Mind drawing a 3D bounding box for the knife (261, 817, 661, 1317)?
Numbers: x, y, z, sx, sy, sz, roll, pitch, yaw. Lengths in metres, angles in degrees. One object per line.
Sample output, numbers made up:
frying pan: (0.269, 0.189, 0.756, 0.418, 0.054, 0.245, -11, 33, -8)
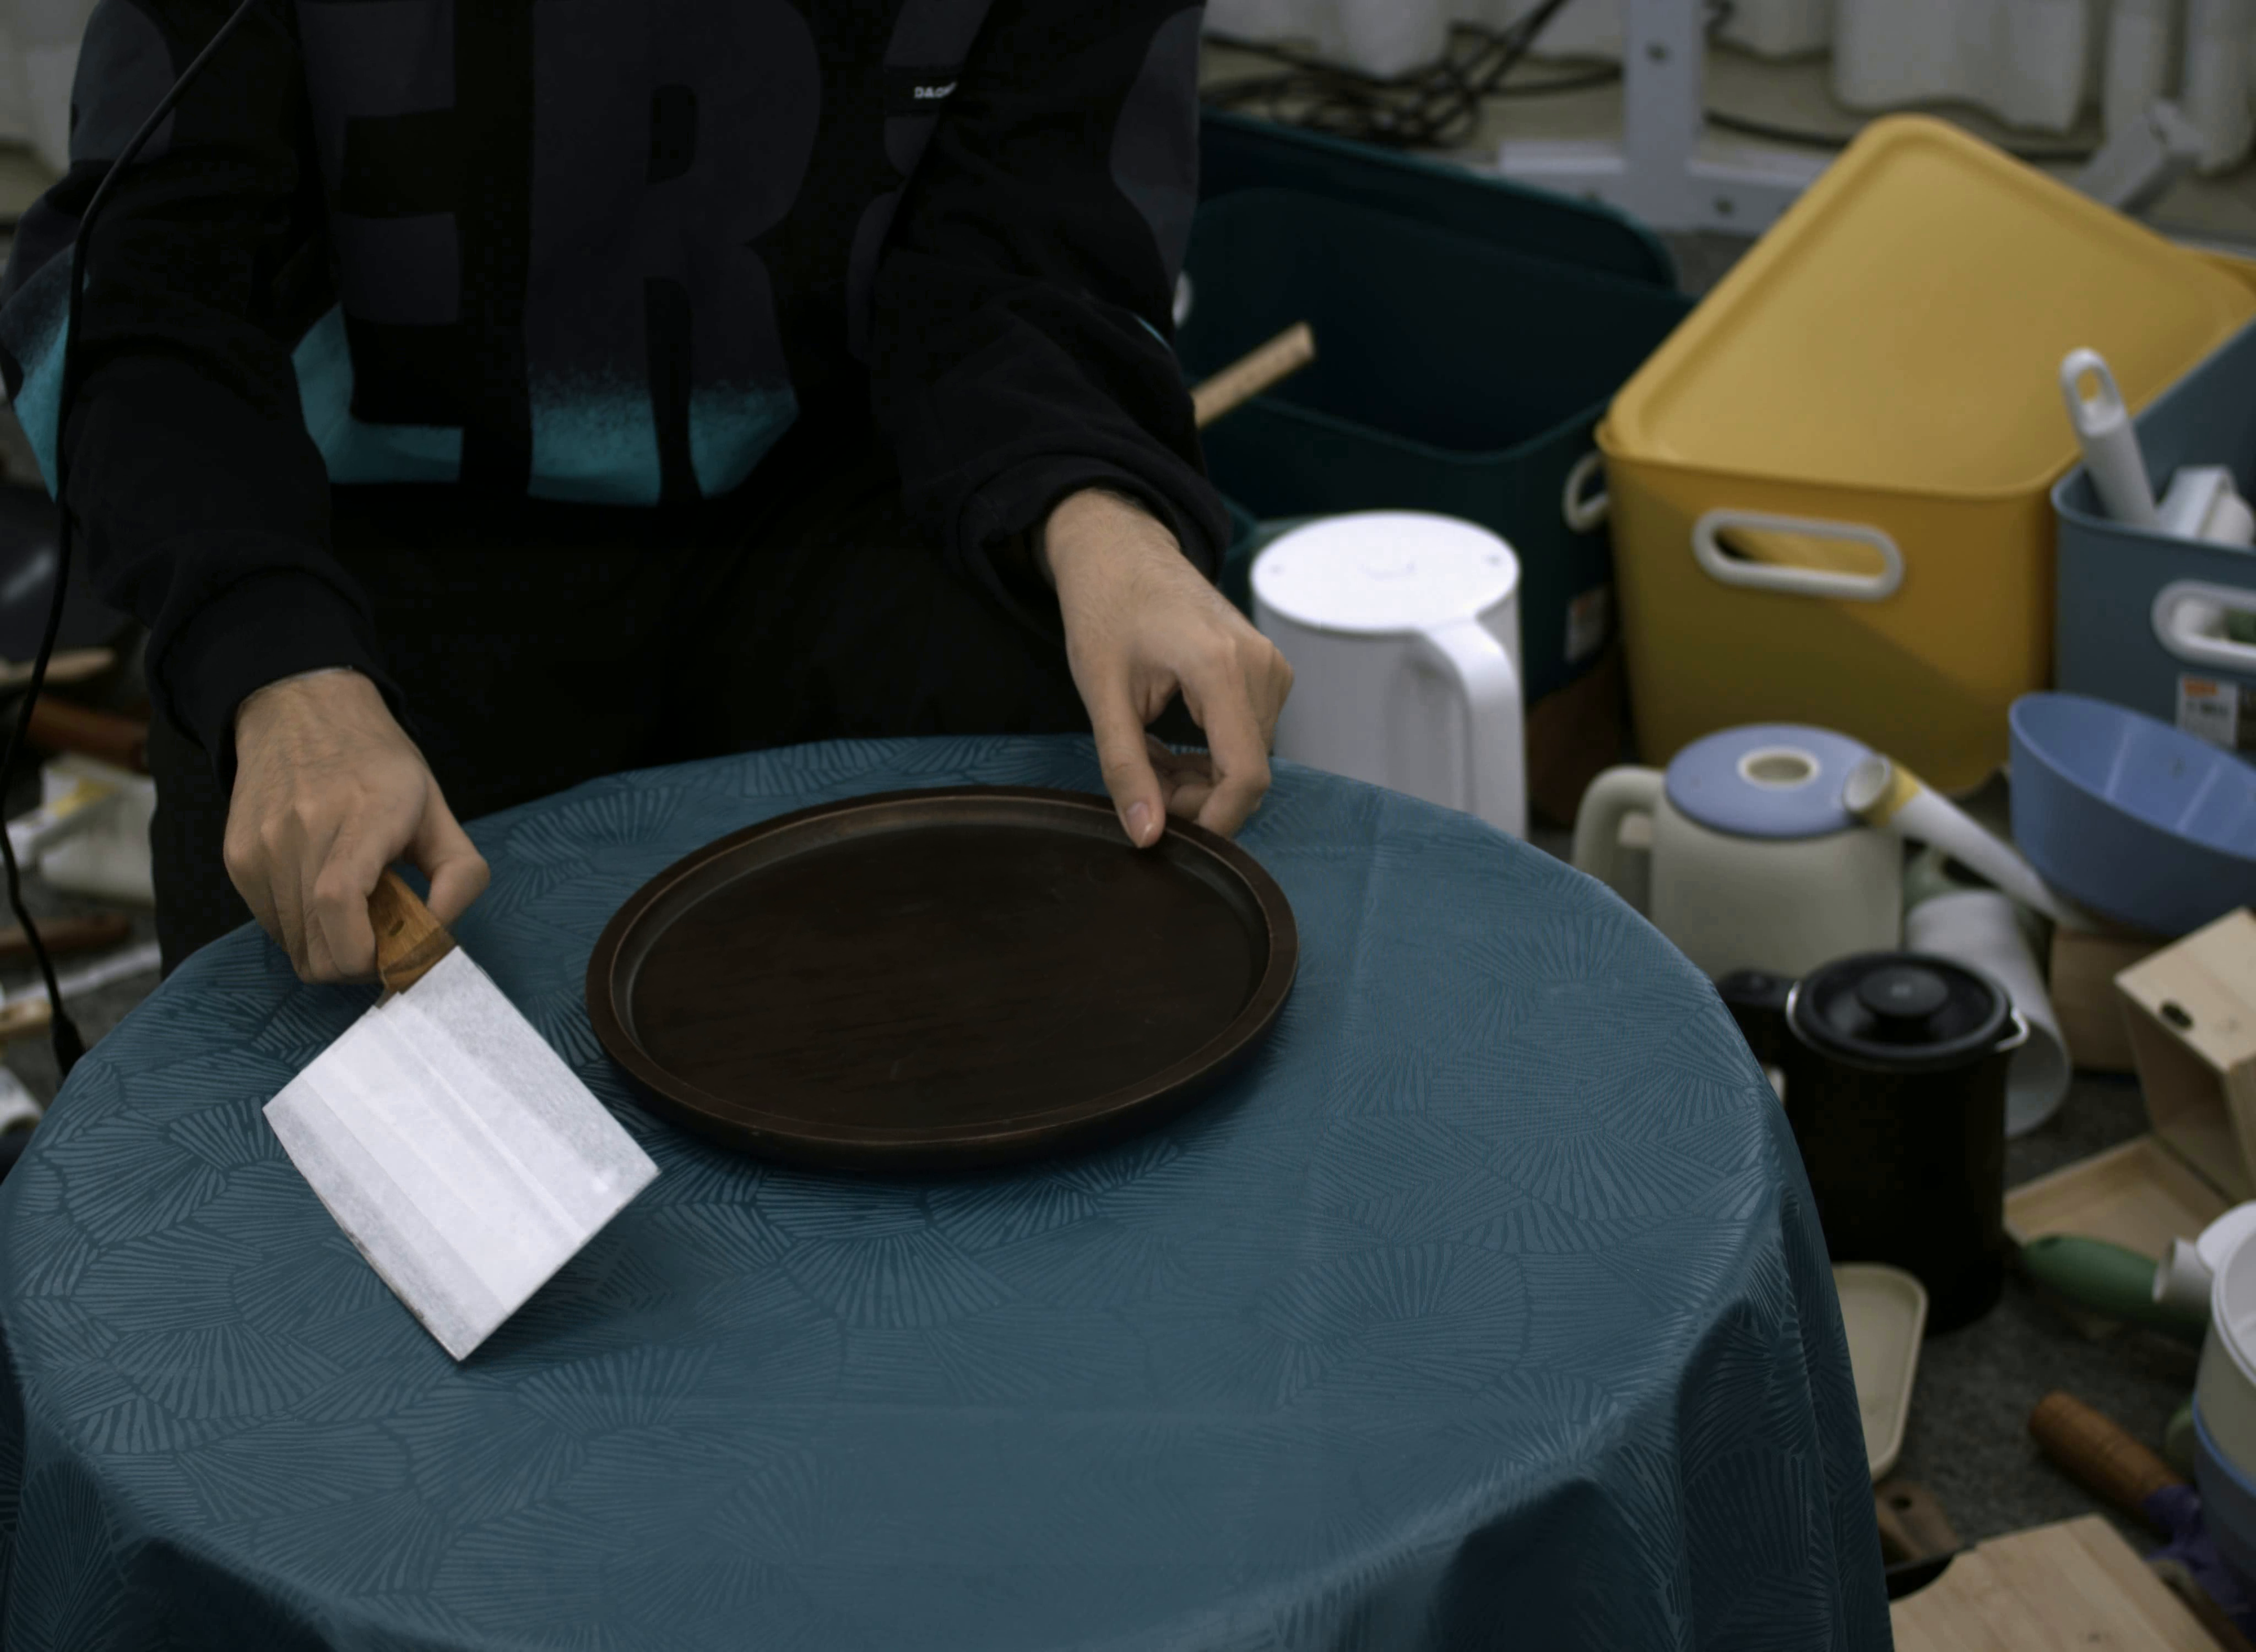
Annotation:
knife: (-0.248, 0.083, 1.909, 0.093, 0.021, 0.307, -43, 36, -6)

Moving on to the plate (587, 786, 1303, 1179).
plate: (-0.064, 0.053, 1.972, 0.253, 0.029, 0.258, -1, 27, 1)
